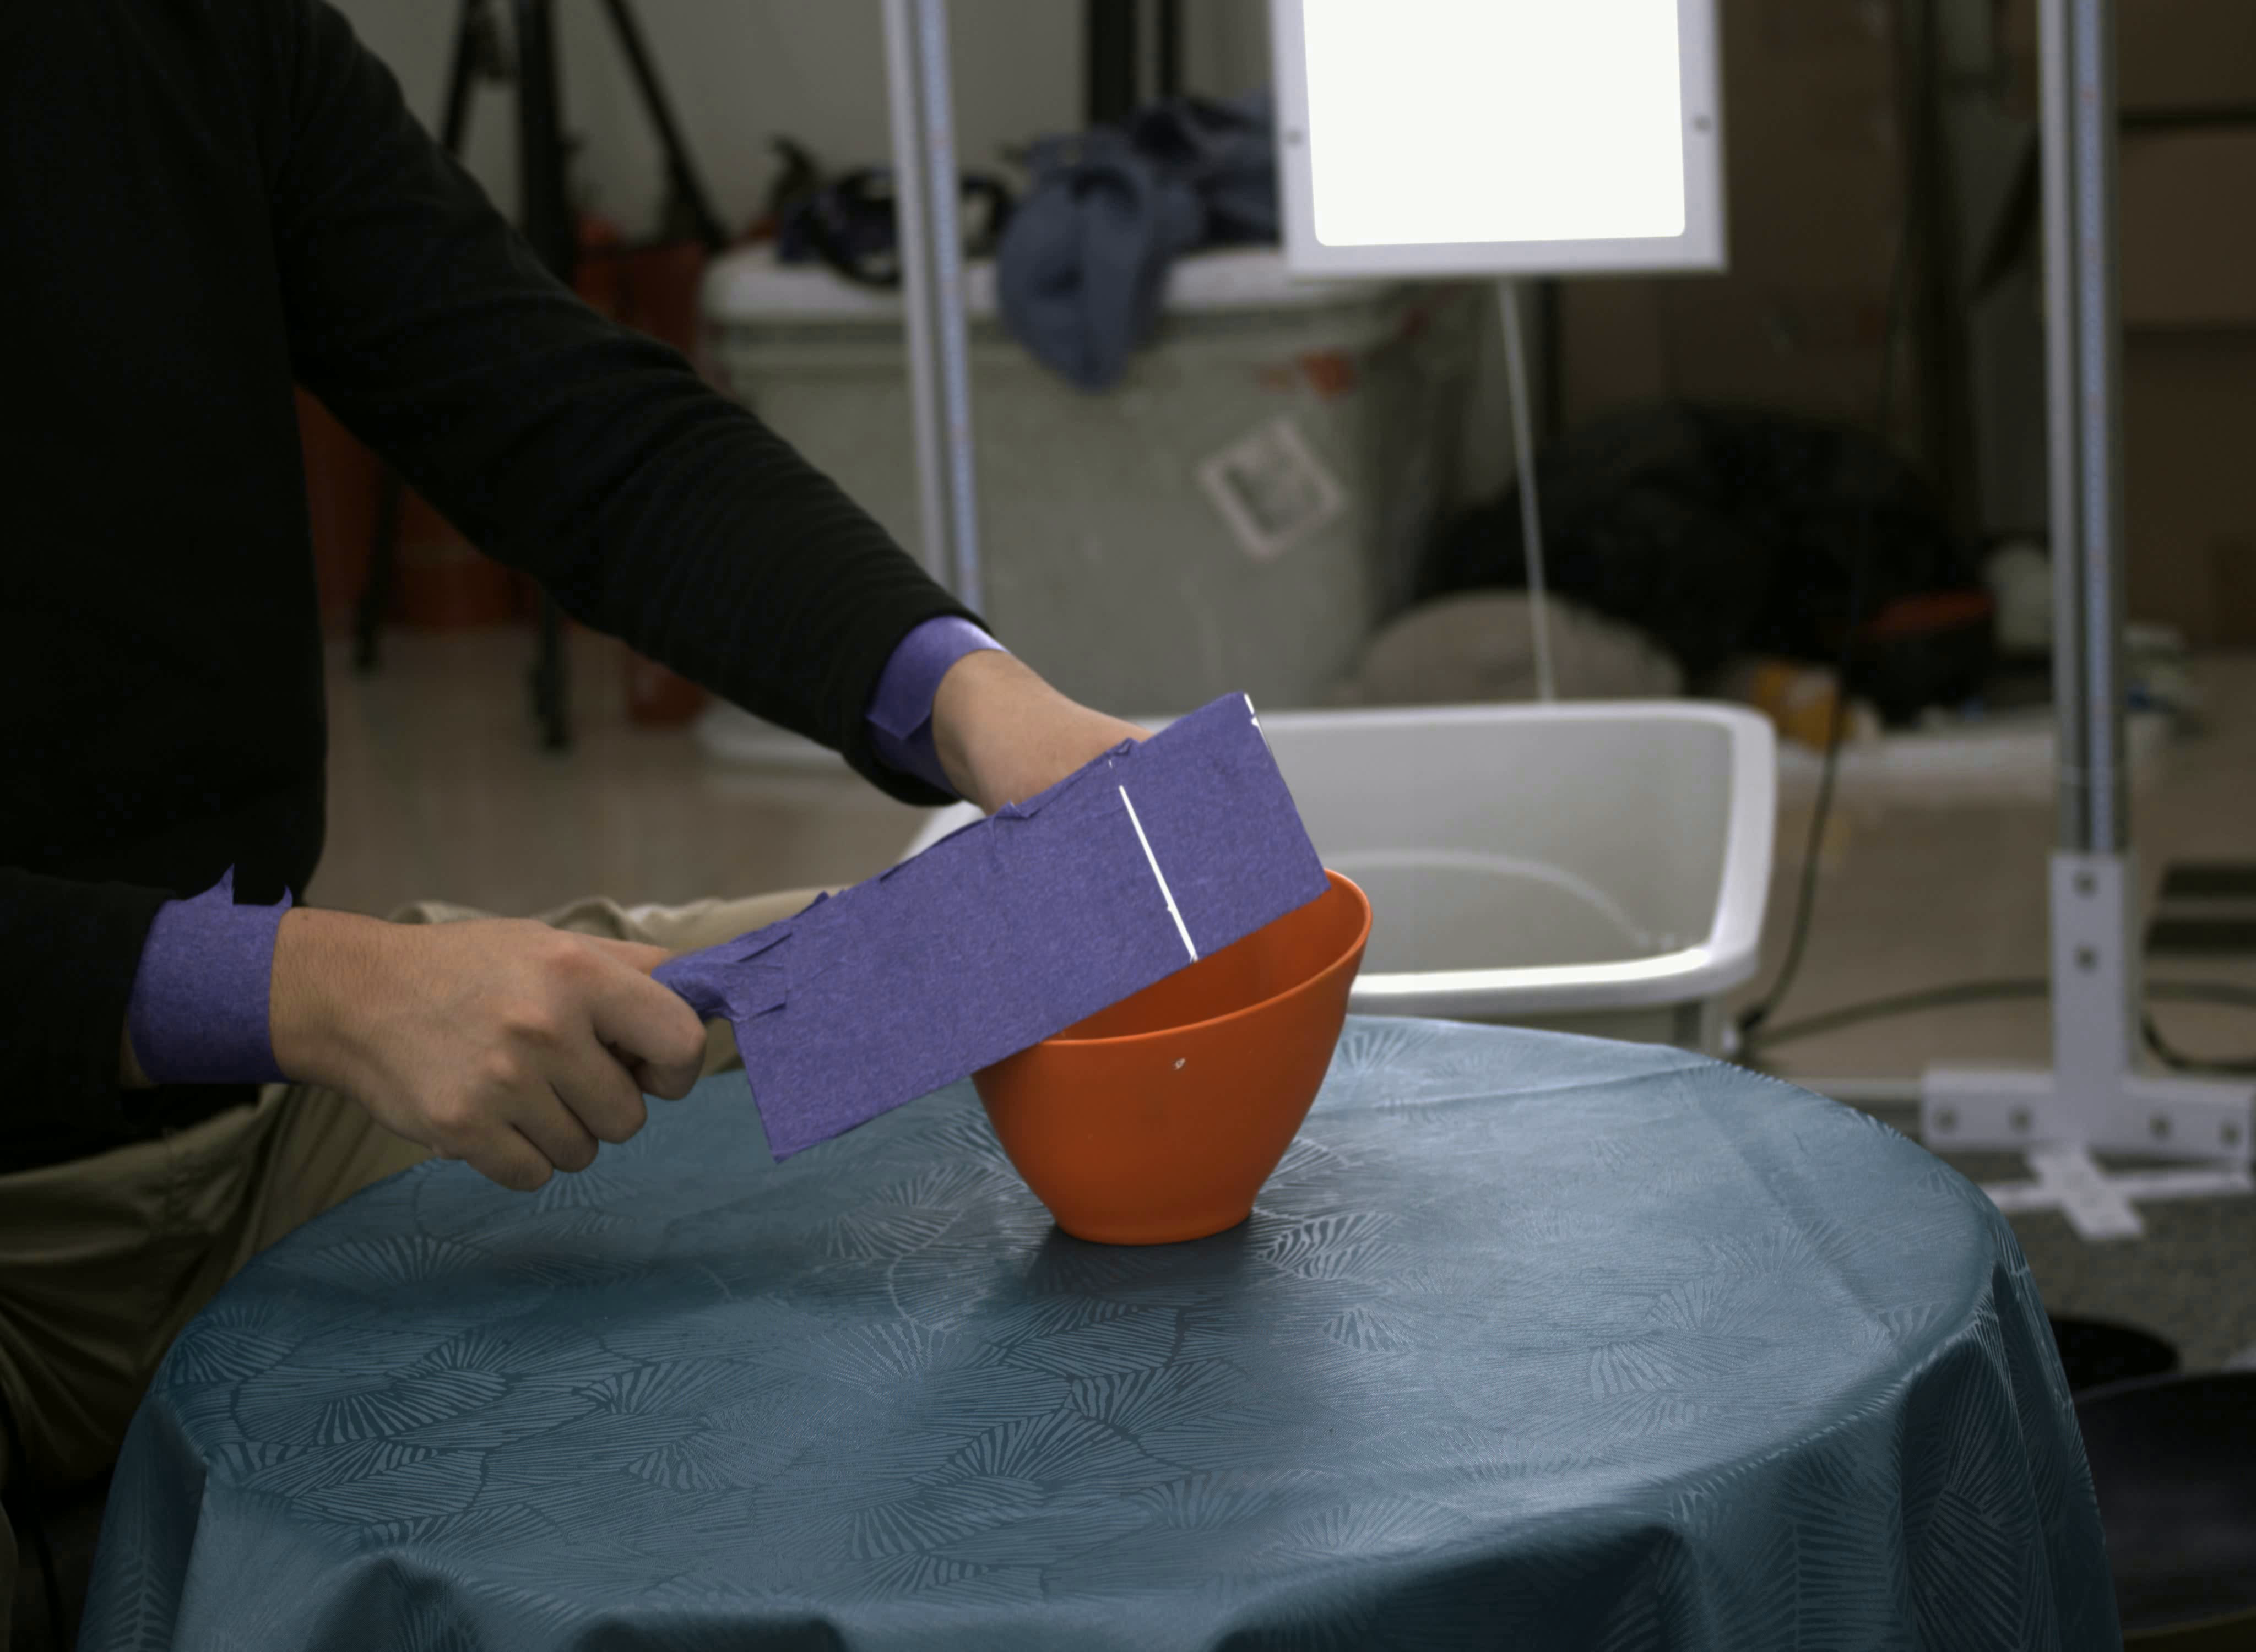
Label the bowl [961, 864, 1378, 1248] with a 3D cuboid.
[{"bbox_3d":[0.013,0.081,1.864,0.147,0.105,0.148,-3,15,0],"label":"bowl"}]

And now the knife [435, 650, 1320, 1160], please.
[{"bbox_3d":[-0.086,0.050,1.837,0.317,0.032,0.104,-29,52,11],"label":"knife"}]
